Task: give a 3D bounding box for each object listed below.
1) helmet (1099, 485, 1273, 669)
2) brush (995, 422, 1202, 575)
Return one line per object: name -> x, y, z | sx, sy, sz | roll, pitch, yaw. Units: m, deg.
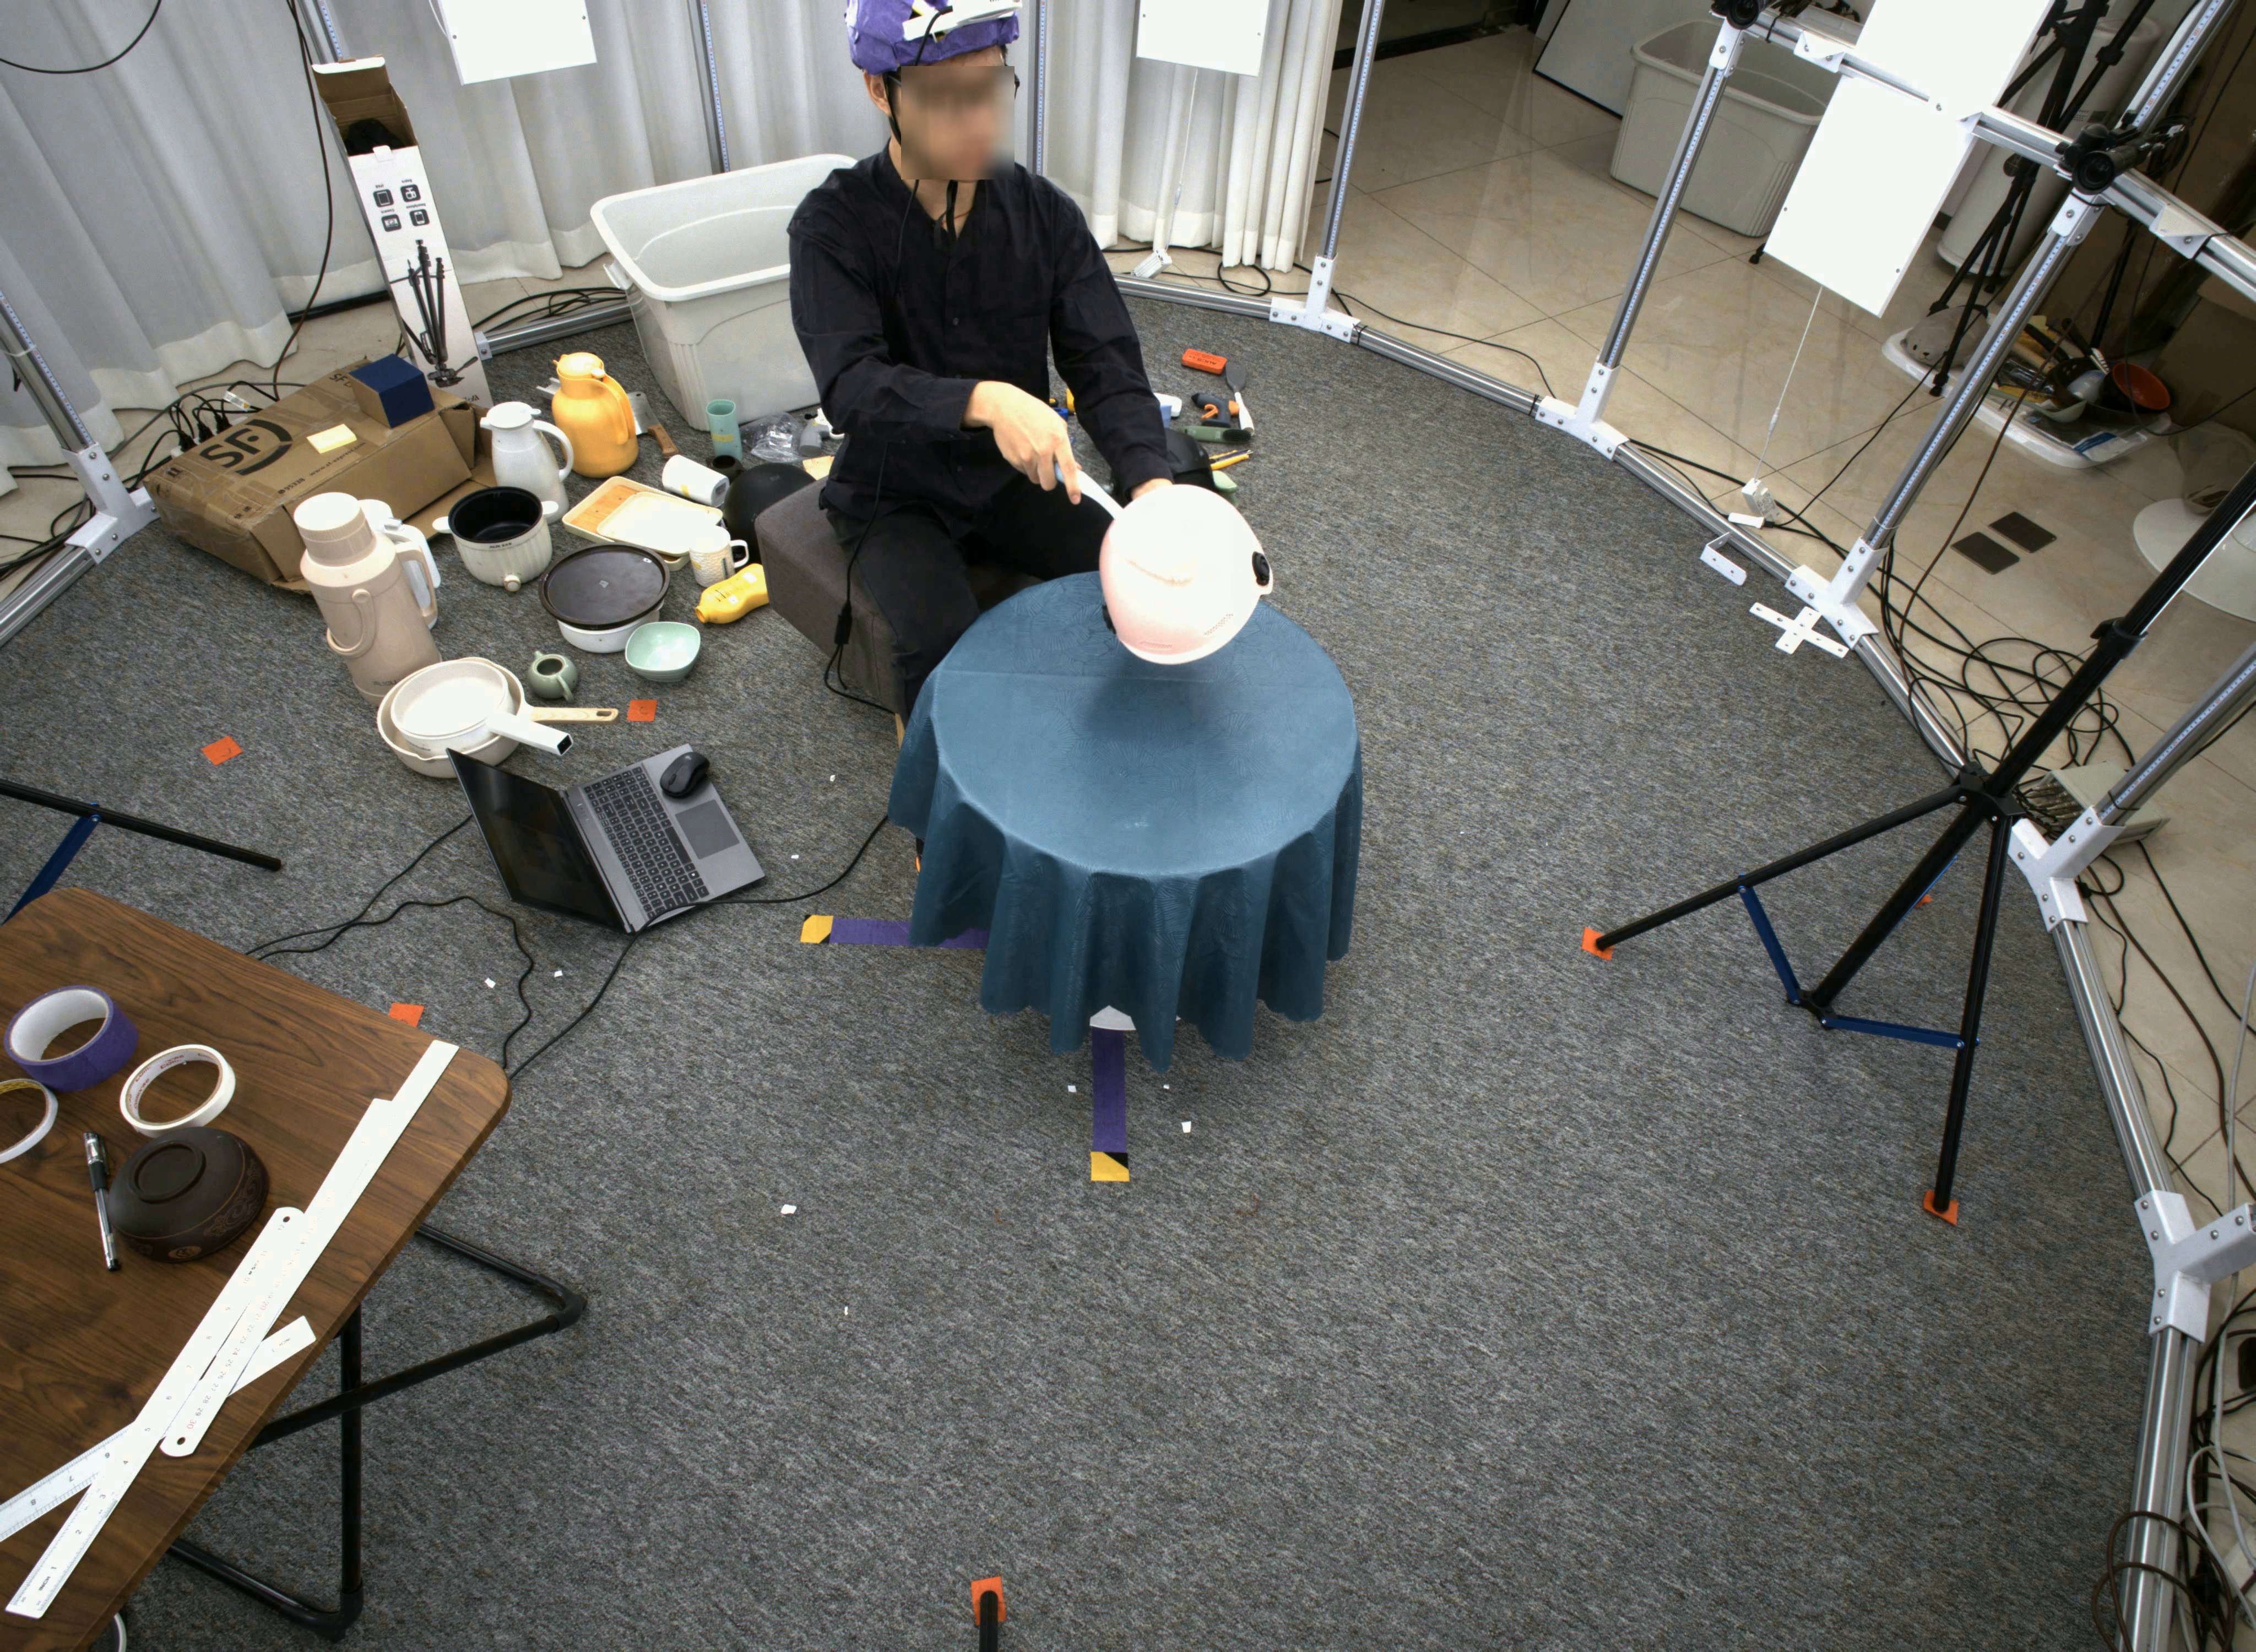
helmet -> 0.061, -0.348, 1.696 | 0.233, 0.155, 0.273 | -16, 46, 15
brush -> -0.035, -0.412, 1.629 | 0.329, 0.082, 0.084 | 37, 46, 21
